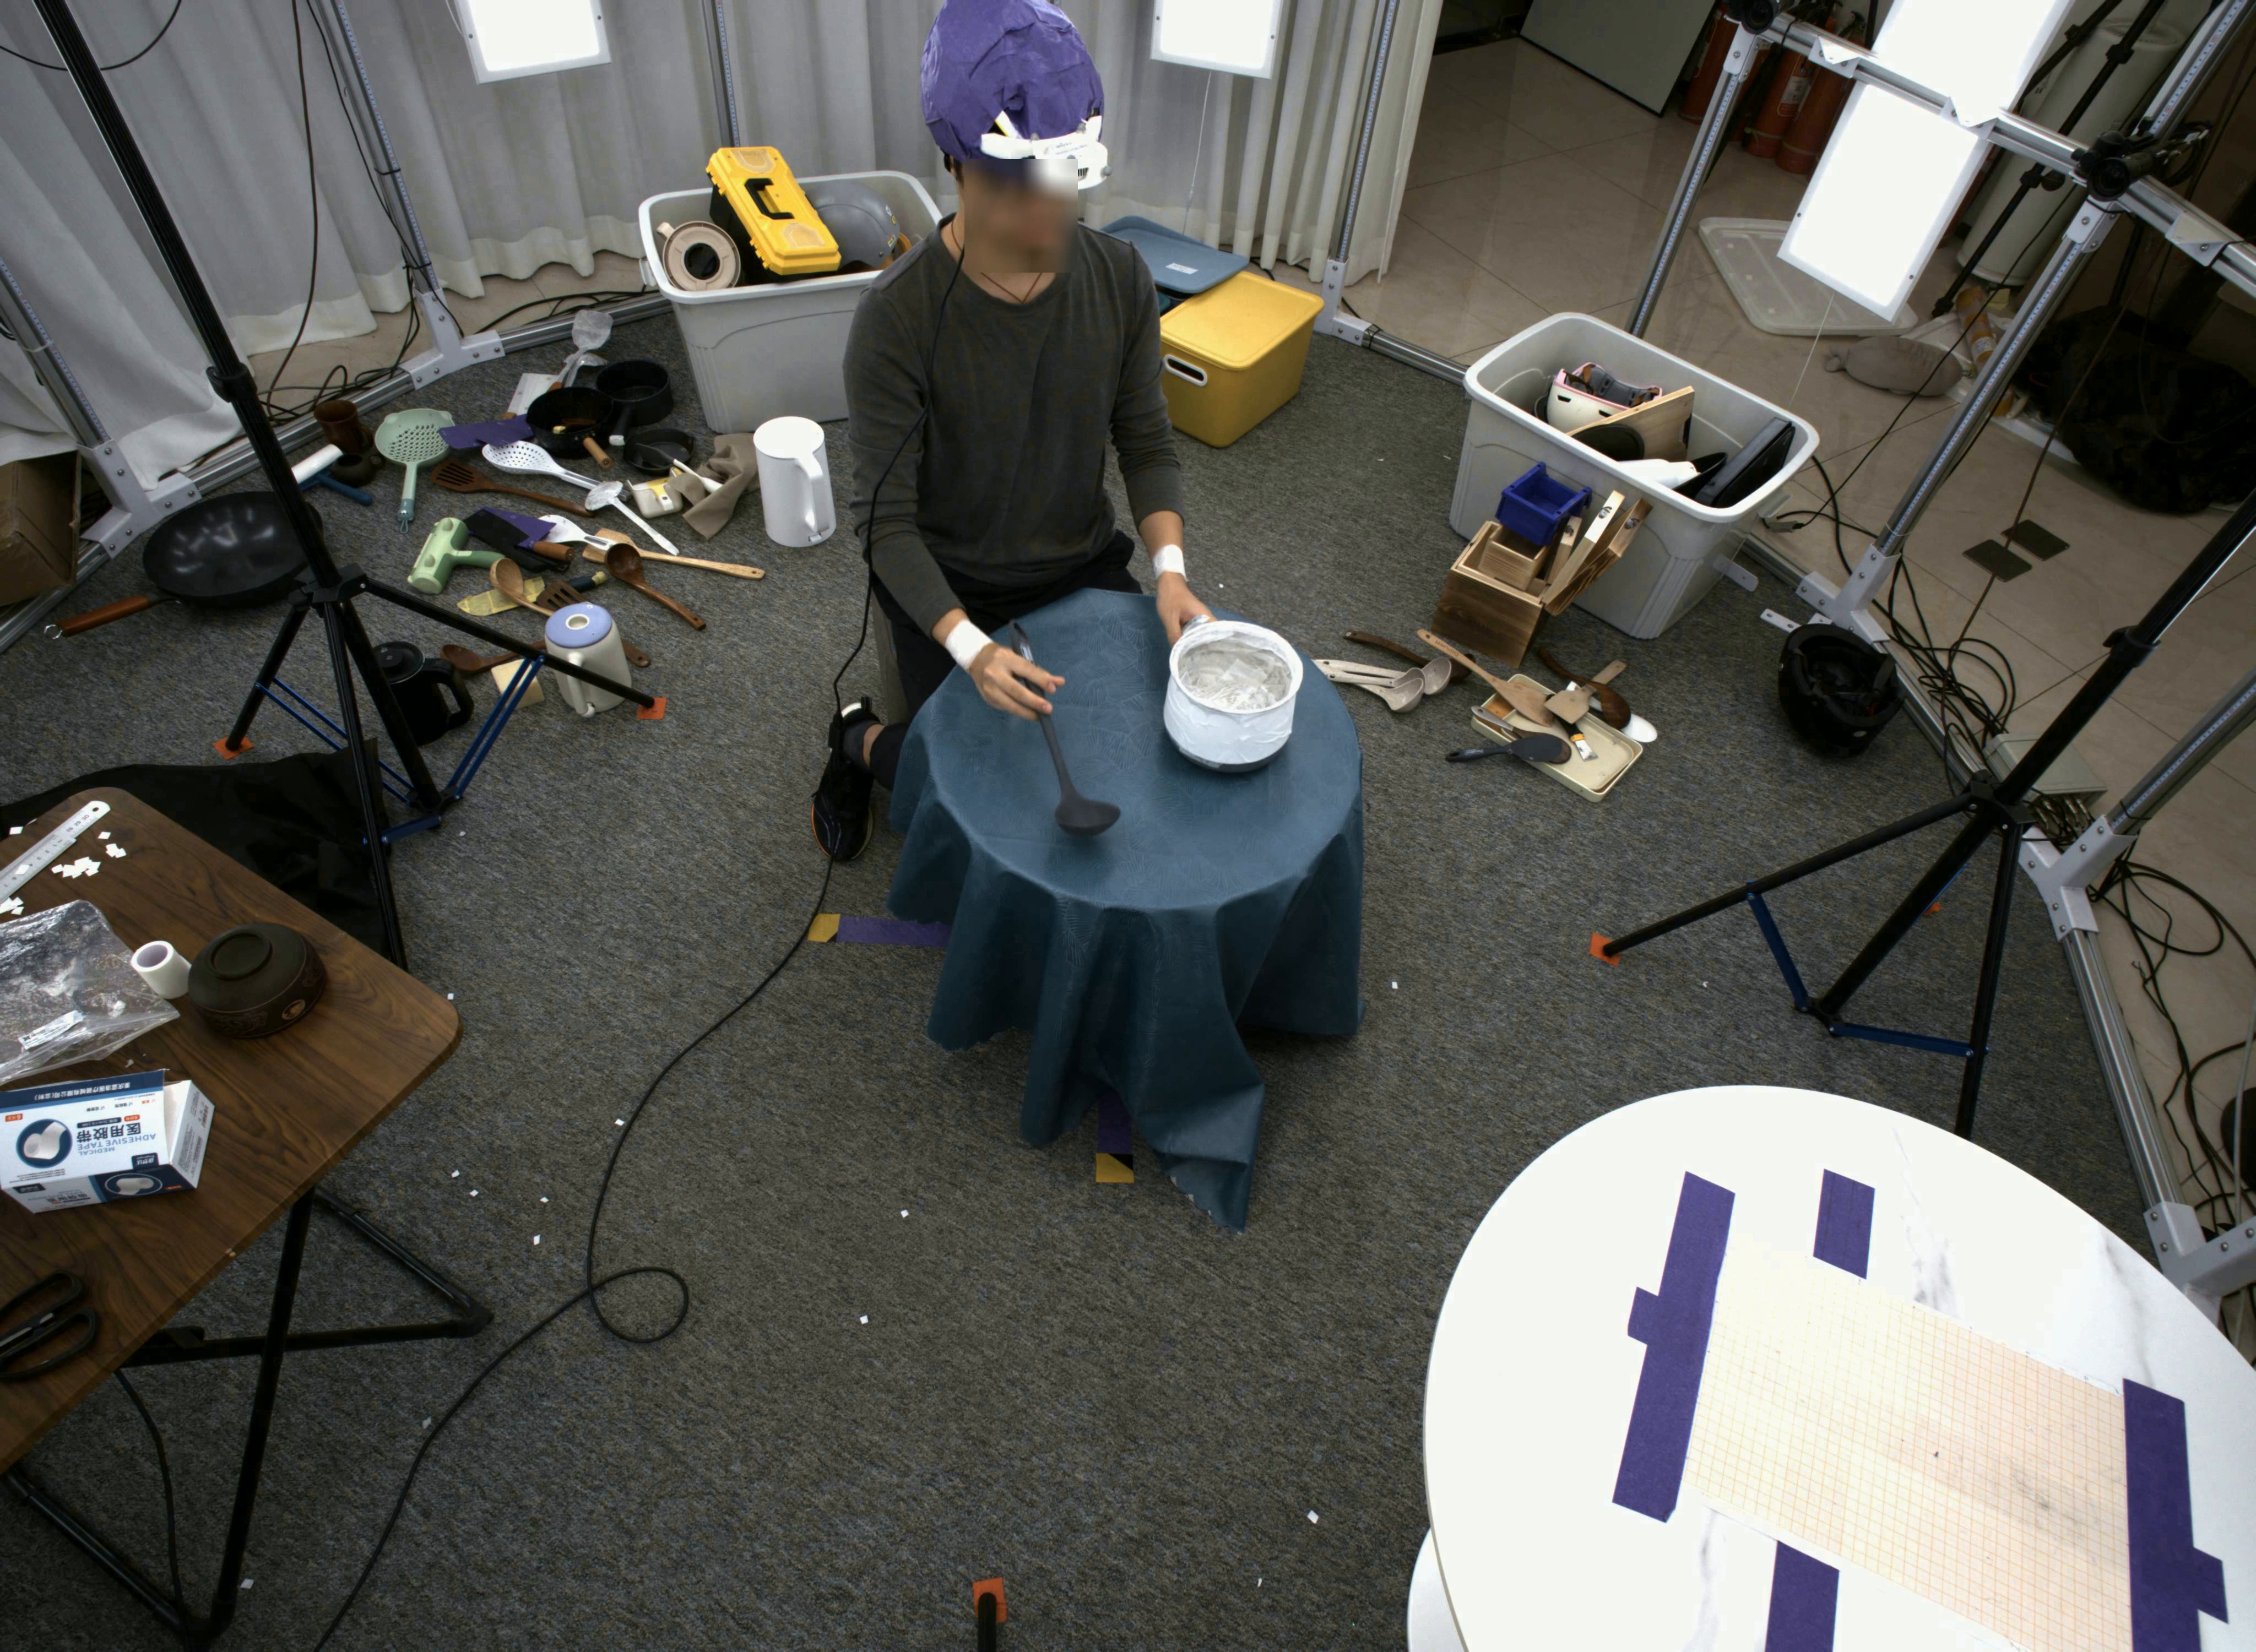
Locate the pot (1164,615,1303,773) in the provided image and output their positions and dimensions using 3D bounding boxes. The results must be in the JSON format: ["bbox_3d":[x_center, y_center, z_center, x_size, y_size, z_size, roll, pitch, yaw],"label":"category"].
[{"bbox_3d":[0.127,-0.191,1.753,0.179,0.133,0.239,-17,52,-18],"label":"pot"}]

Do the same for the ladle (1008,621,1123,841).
[{"bbox_3d":[-0.093,-0.129,1.634,0.086,0.063,0.317,-11,75,-31],"label":"ladle"}]
